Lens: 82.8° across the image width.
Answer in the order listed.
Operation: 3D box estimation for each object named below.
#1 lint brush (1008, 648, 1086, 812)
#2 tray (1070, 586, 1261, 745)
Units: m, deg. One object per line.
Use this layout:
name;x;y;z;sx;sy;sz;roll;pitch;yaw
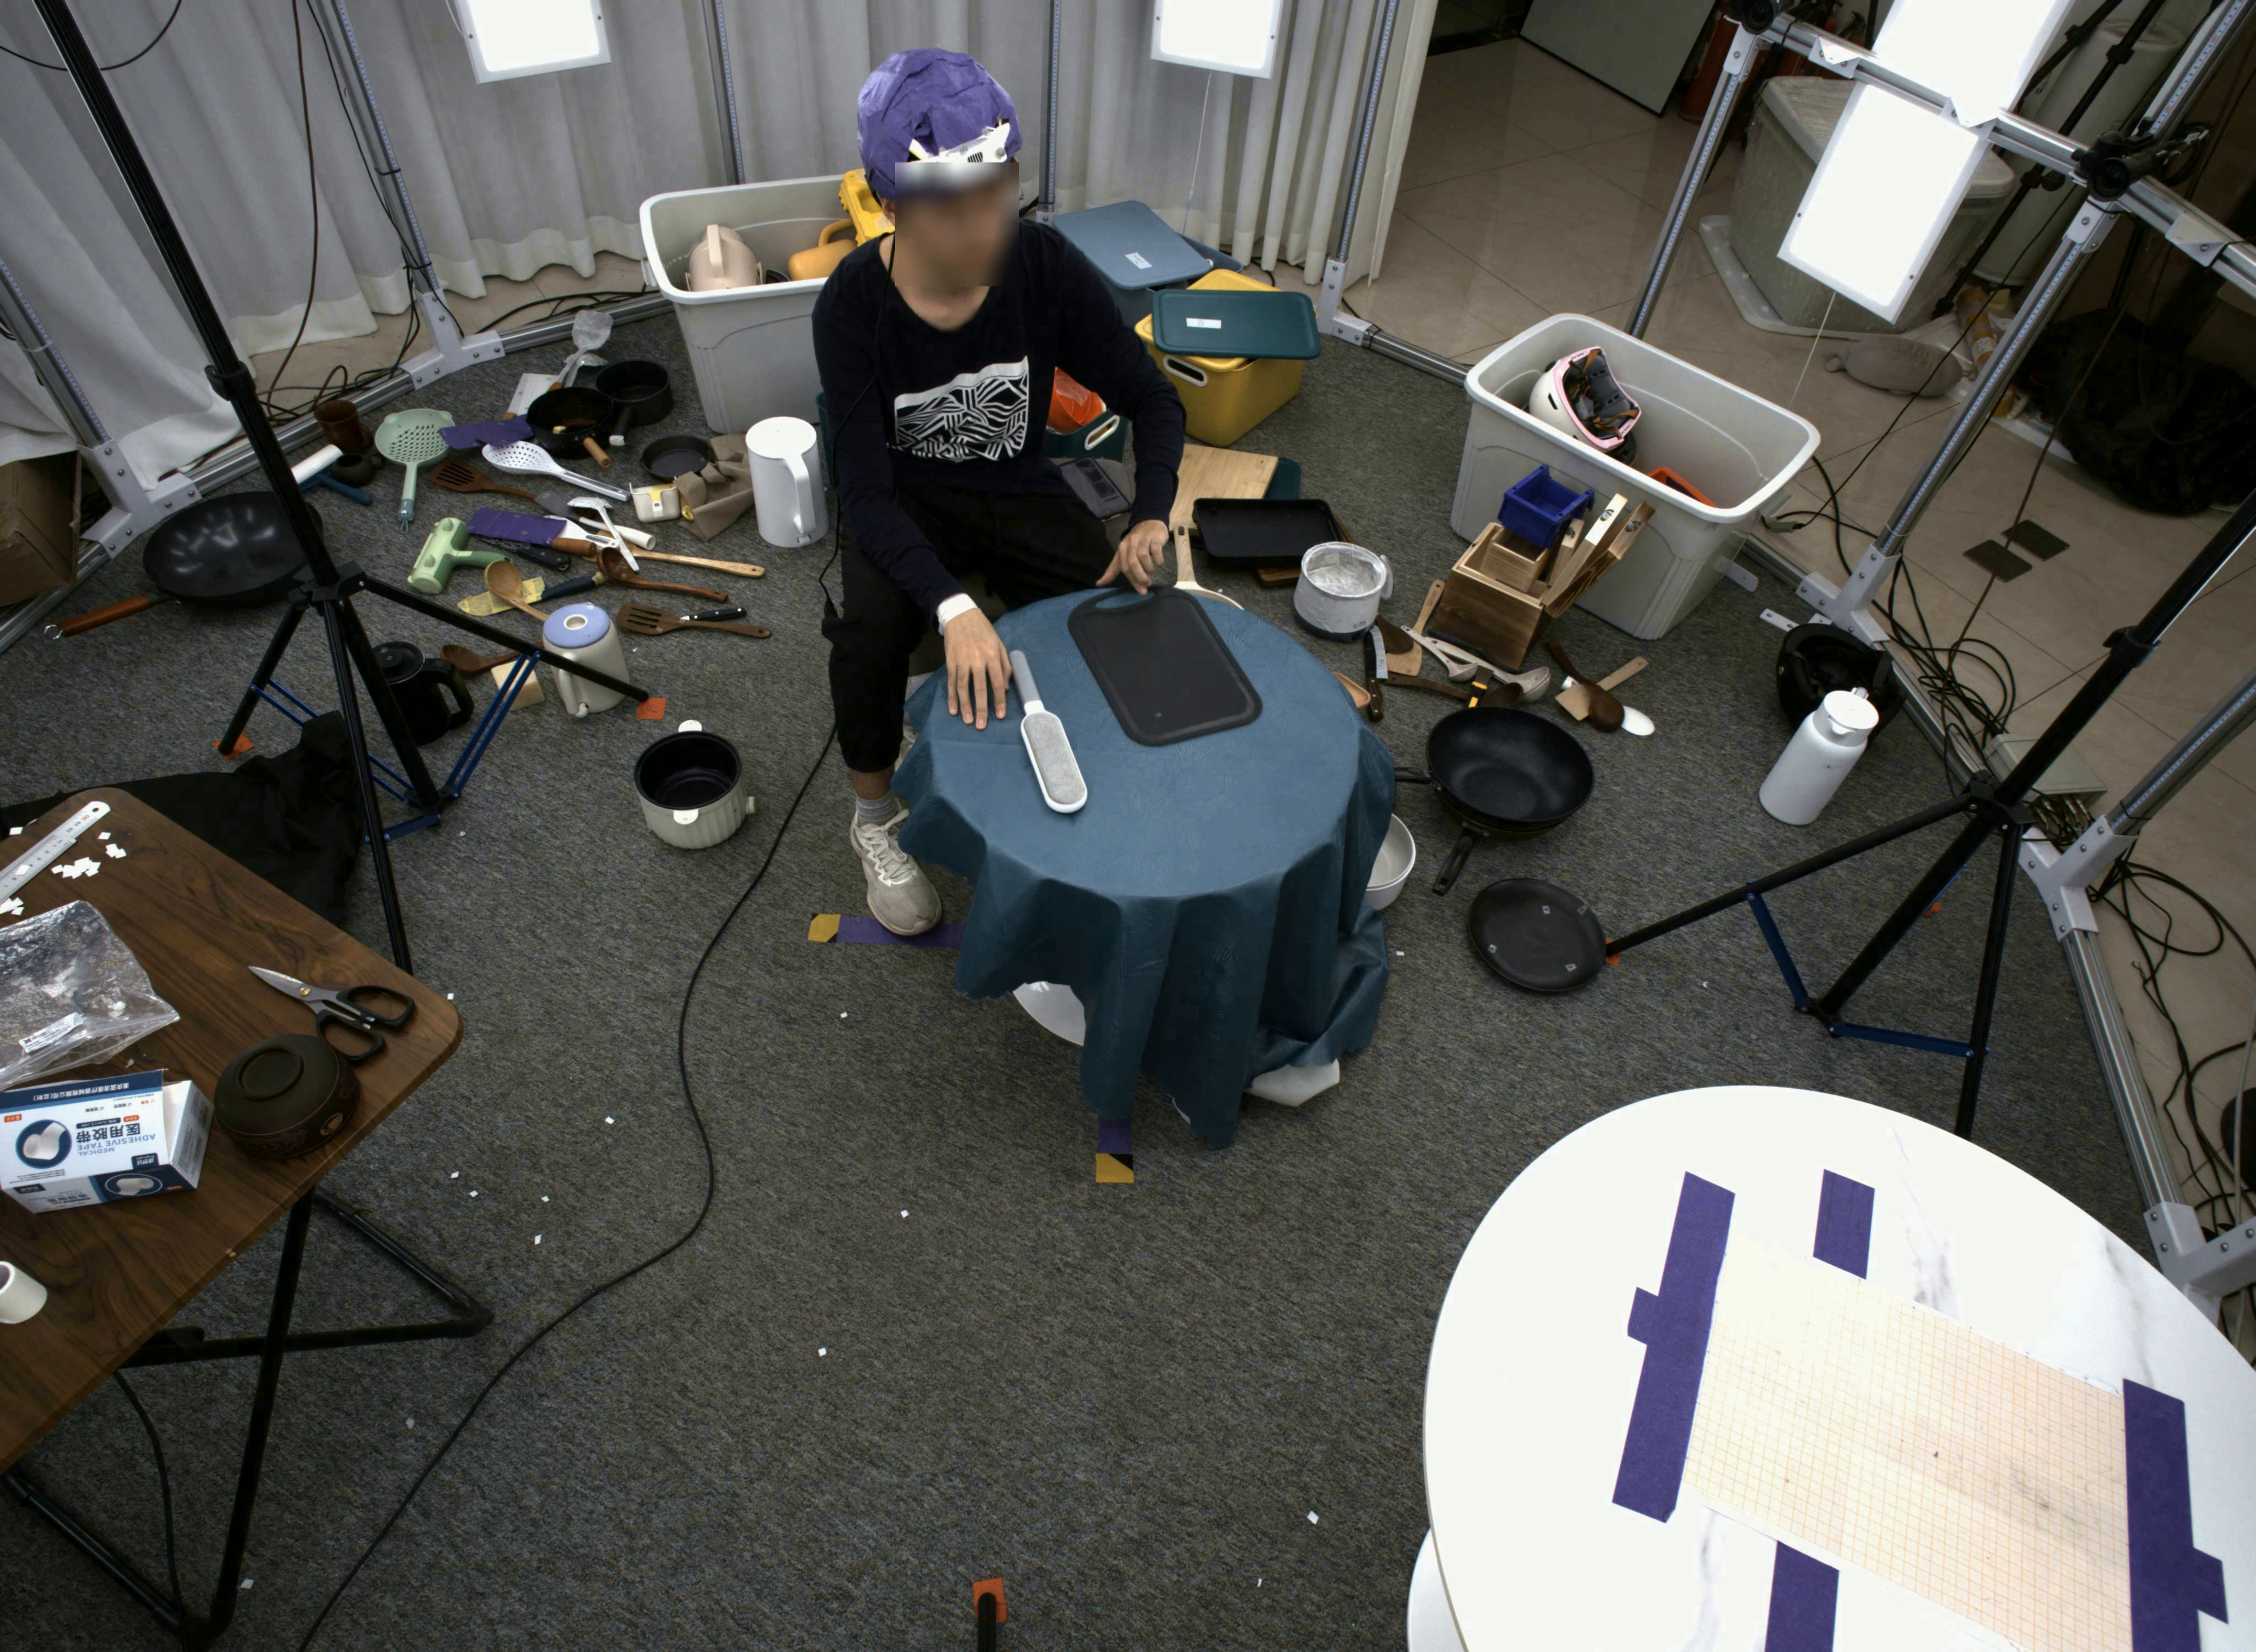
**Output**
lint brush;-0.118;-0.137;1.761;0.060;0.020;0.316;-14;51;-9
tray;0.047;-0.245;1.879;0.211;0.009;0.333;-14;51;-16
